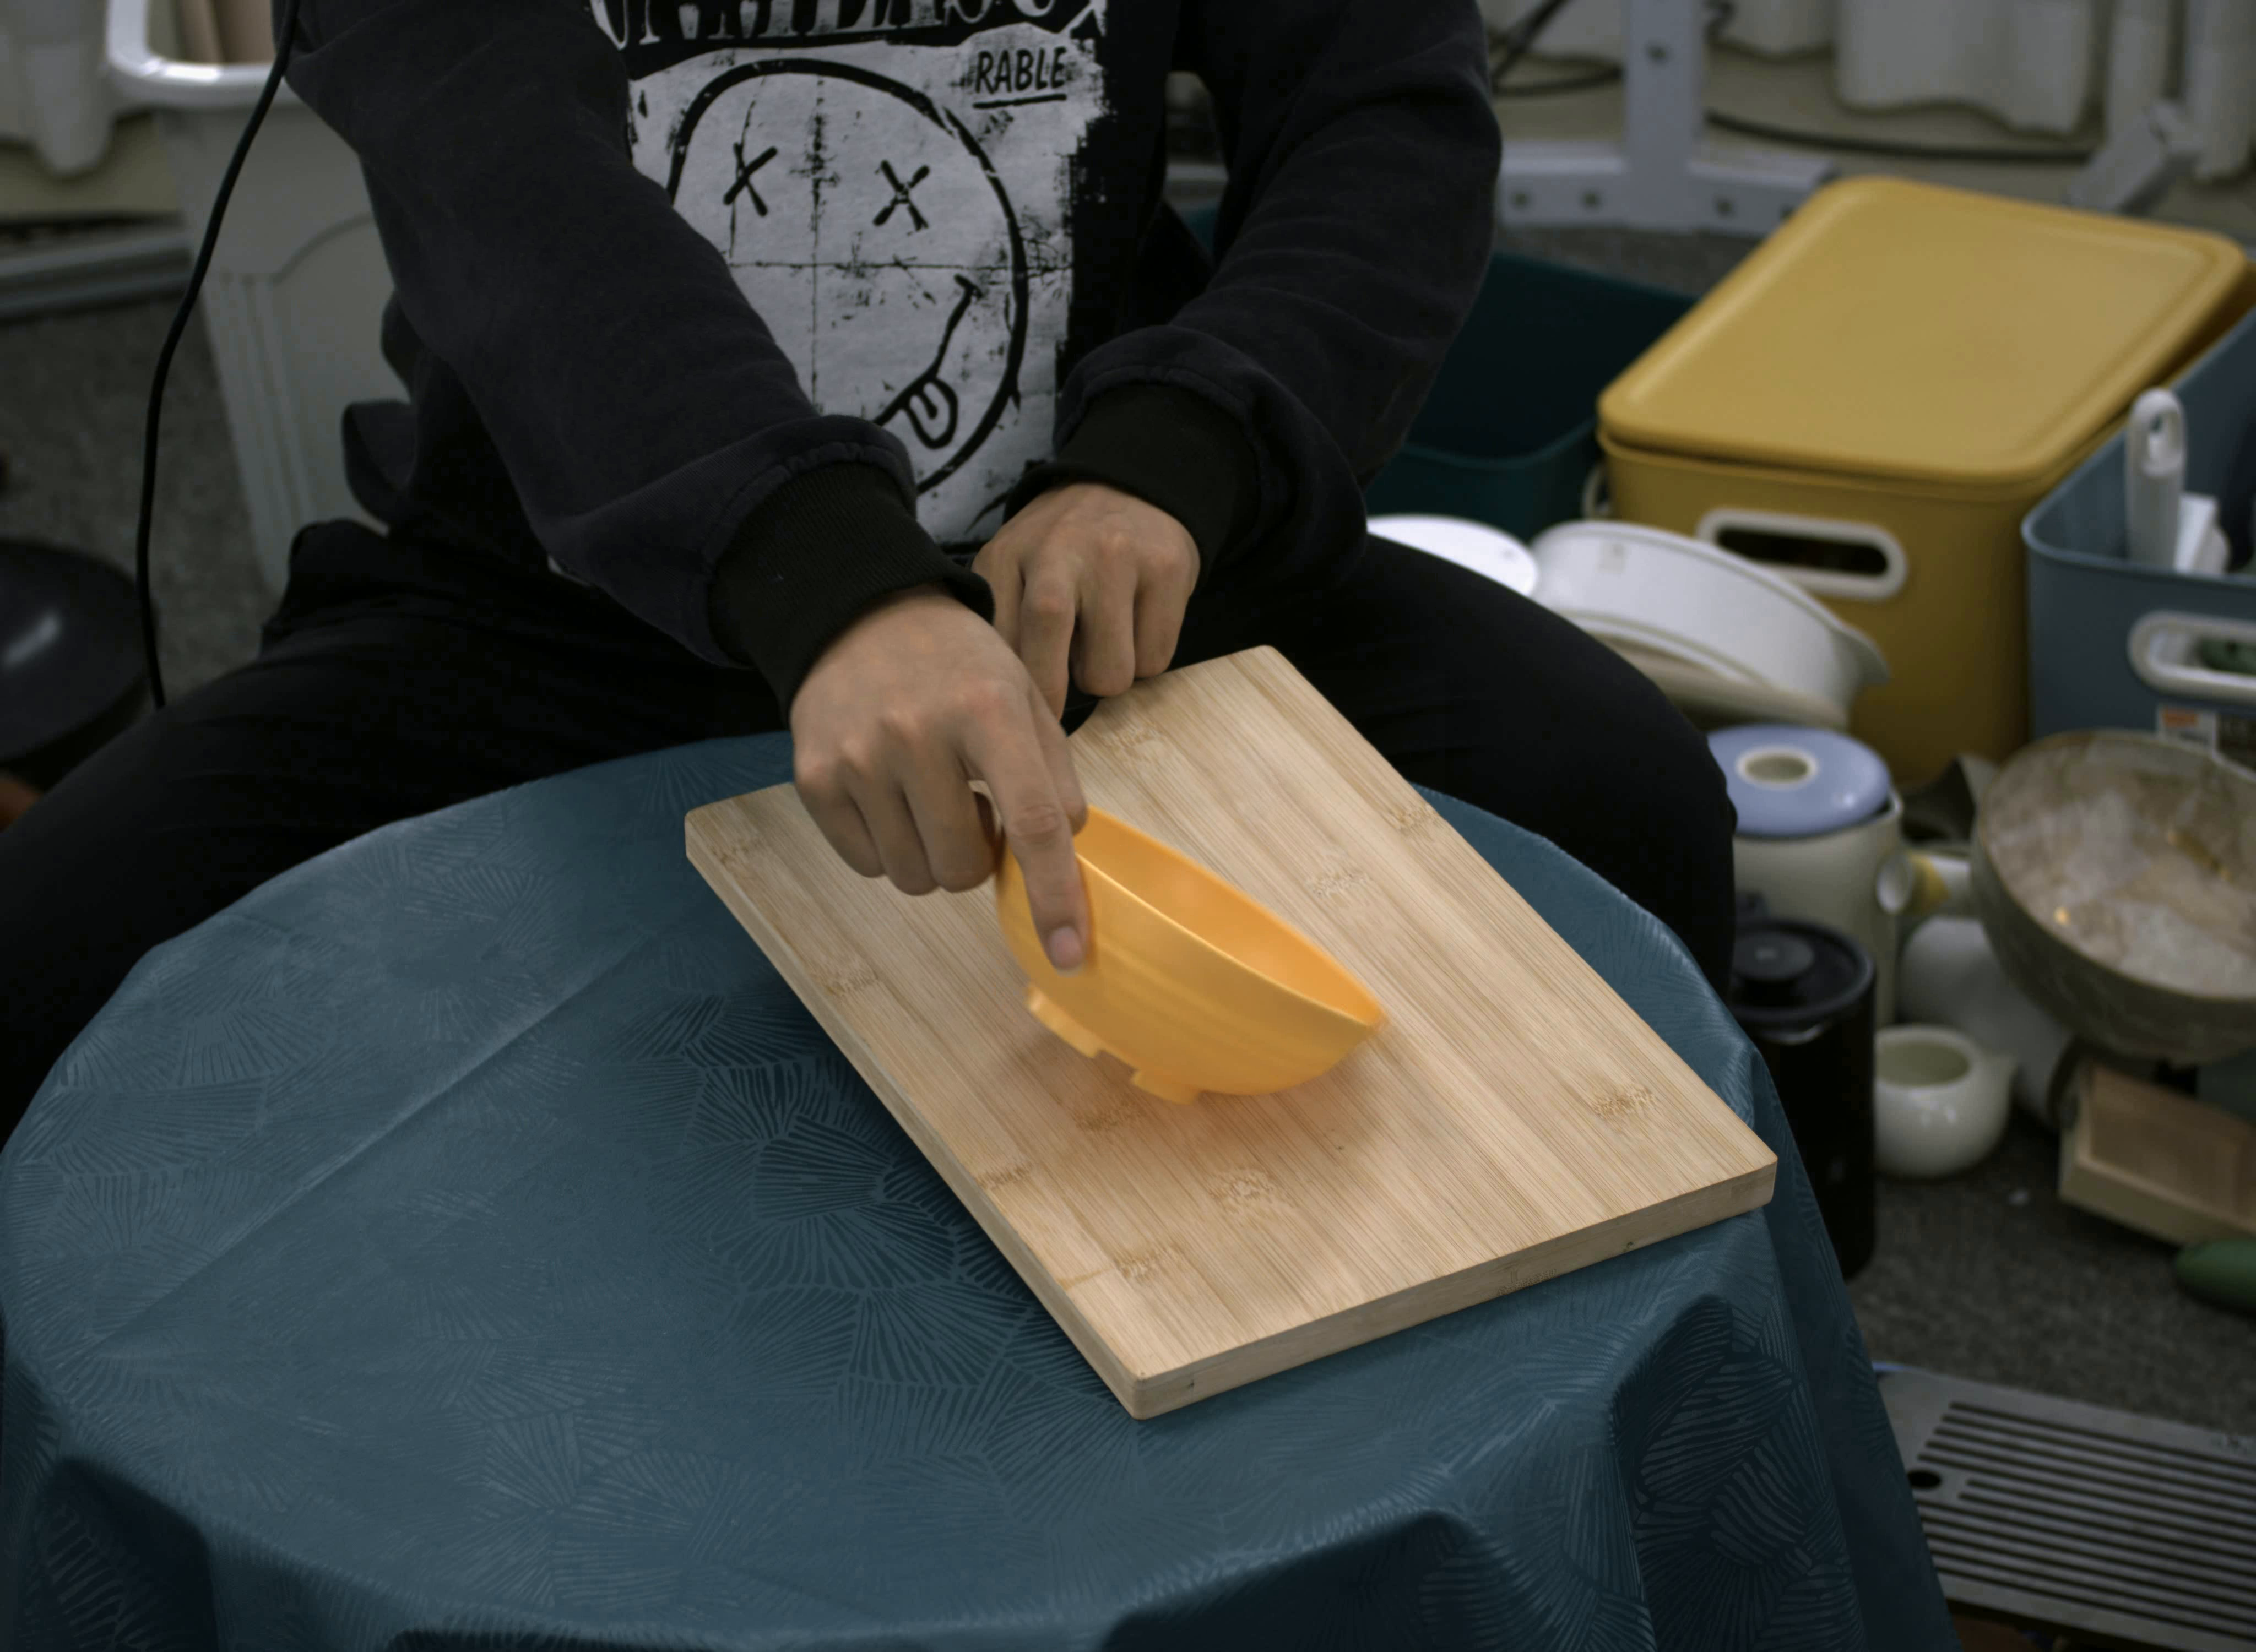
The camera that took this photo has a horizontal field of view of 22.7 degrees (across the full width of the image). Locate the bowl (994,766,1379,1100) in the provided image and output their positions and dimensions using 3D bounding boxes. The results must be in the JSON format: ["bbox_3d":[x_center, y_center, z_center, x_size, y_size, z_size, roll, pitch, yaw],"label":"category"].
[{"bbox_3d":[0.007,0.046,1.827,0.145,0.060,0.146,35,6,-3],"label":"bowl"}]

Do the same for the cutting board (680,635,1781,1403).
[{"bbox_3d":[0.027,0.057,1.911,0.252,0.023,0.351,-16,38,-25],"label":"cutting board"}]
